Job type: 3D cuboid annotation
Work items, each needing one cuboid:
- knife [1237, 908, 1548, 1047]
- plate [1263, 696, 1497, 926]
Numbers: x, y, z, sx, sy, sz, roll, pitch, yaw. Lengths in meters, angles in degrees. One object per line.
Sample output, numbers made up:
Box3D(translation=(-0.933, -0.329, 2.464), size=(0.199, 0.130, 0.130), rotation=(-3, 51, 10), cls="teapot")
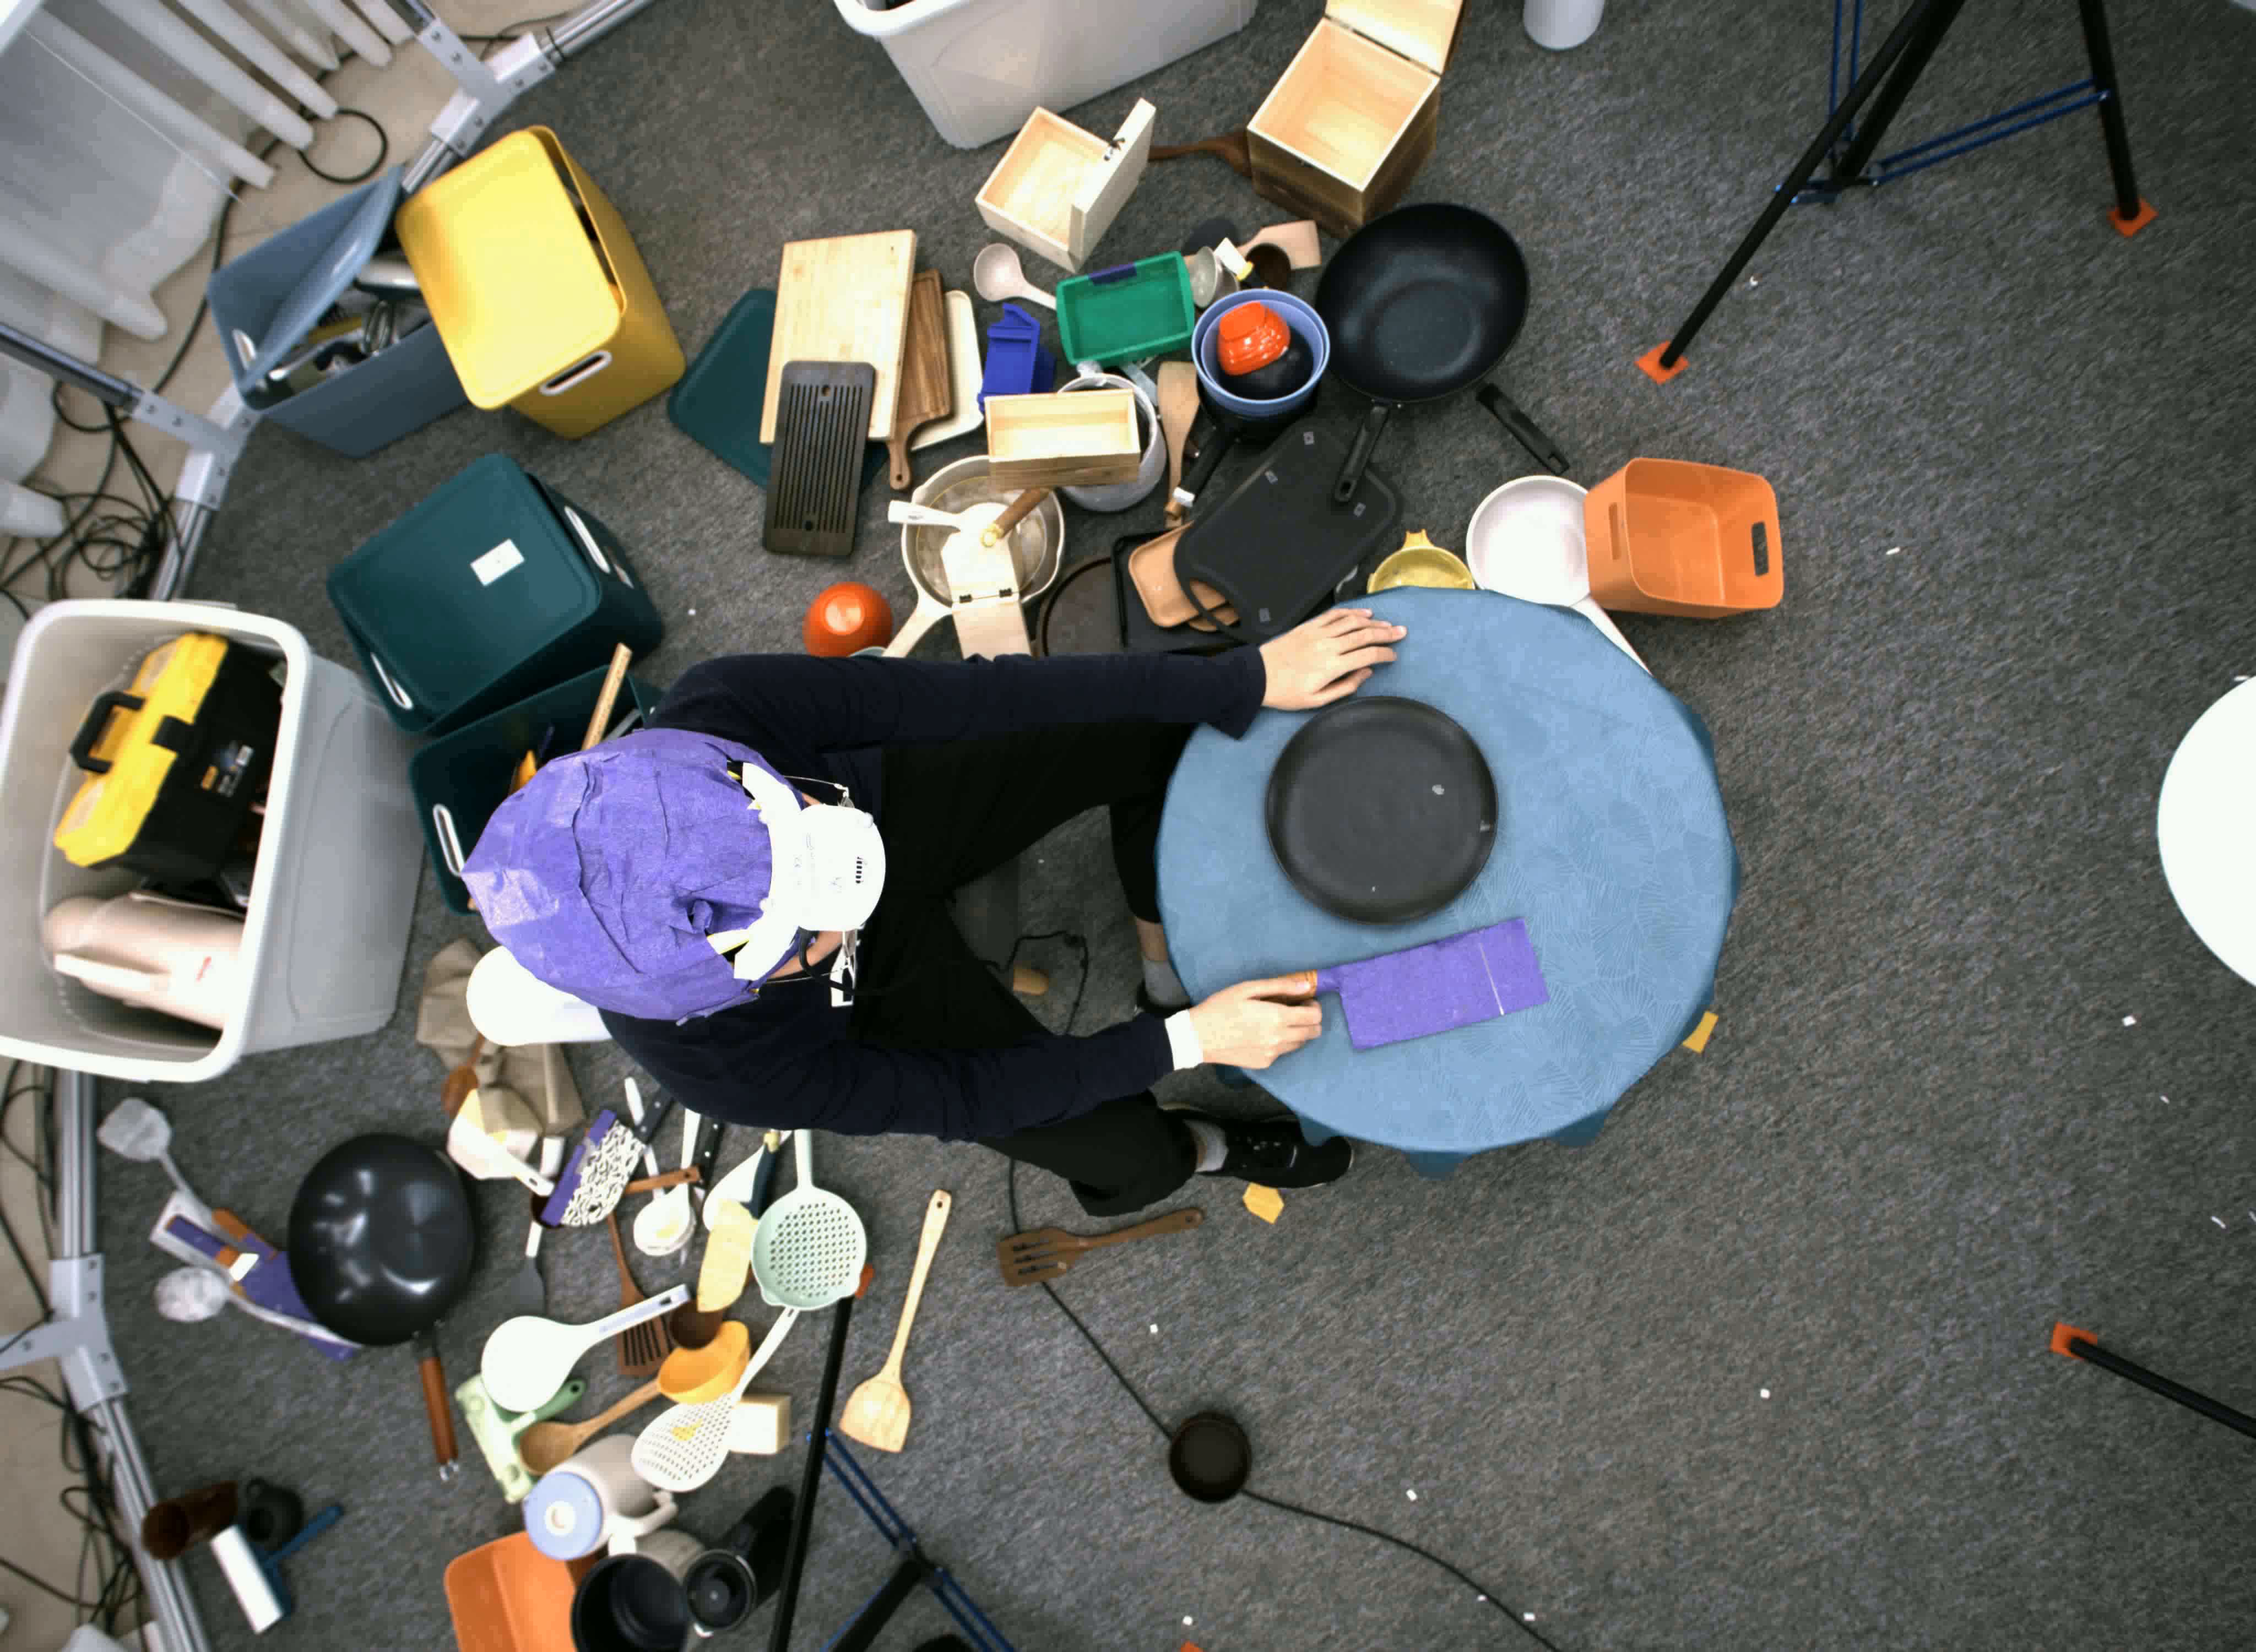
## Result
Box3D(translation=(0.275, 0.174, 1.440), size=(0.317, 0.032, 0.103), rotation=(-17, 83, 9), cls="knife")
Box3D(translation=(0.264, -0.017, 1.455), size=(0.245, 0.023, 0.243), rotation=(-1, 87, 11), cls="plate")
